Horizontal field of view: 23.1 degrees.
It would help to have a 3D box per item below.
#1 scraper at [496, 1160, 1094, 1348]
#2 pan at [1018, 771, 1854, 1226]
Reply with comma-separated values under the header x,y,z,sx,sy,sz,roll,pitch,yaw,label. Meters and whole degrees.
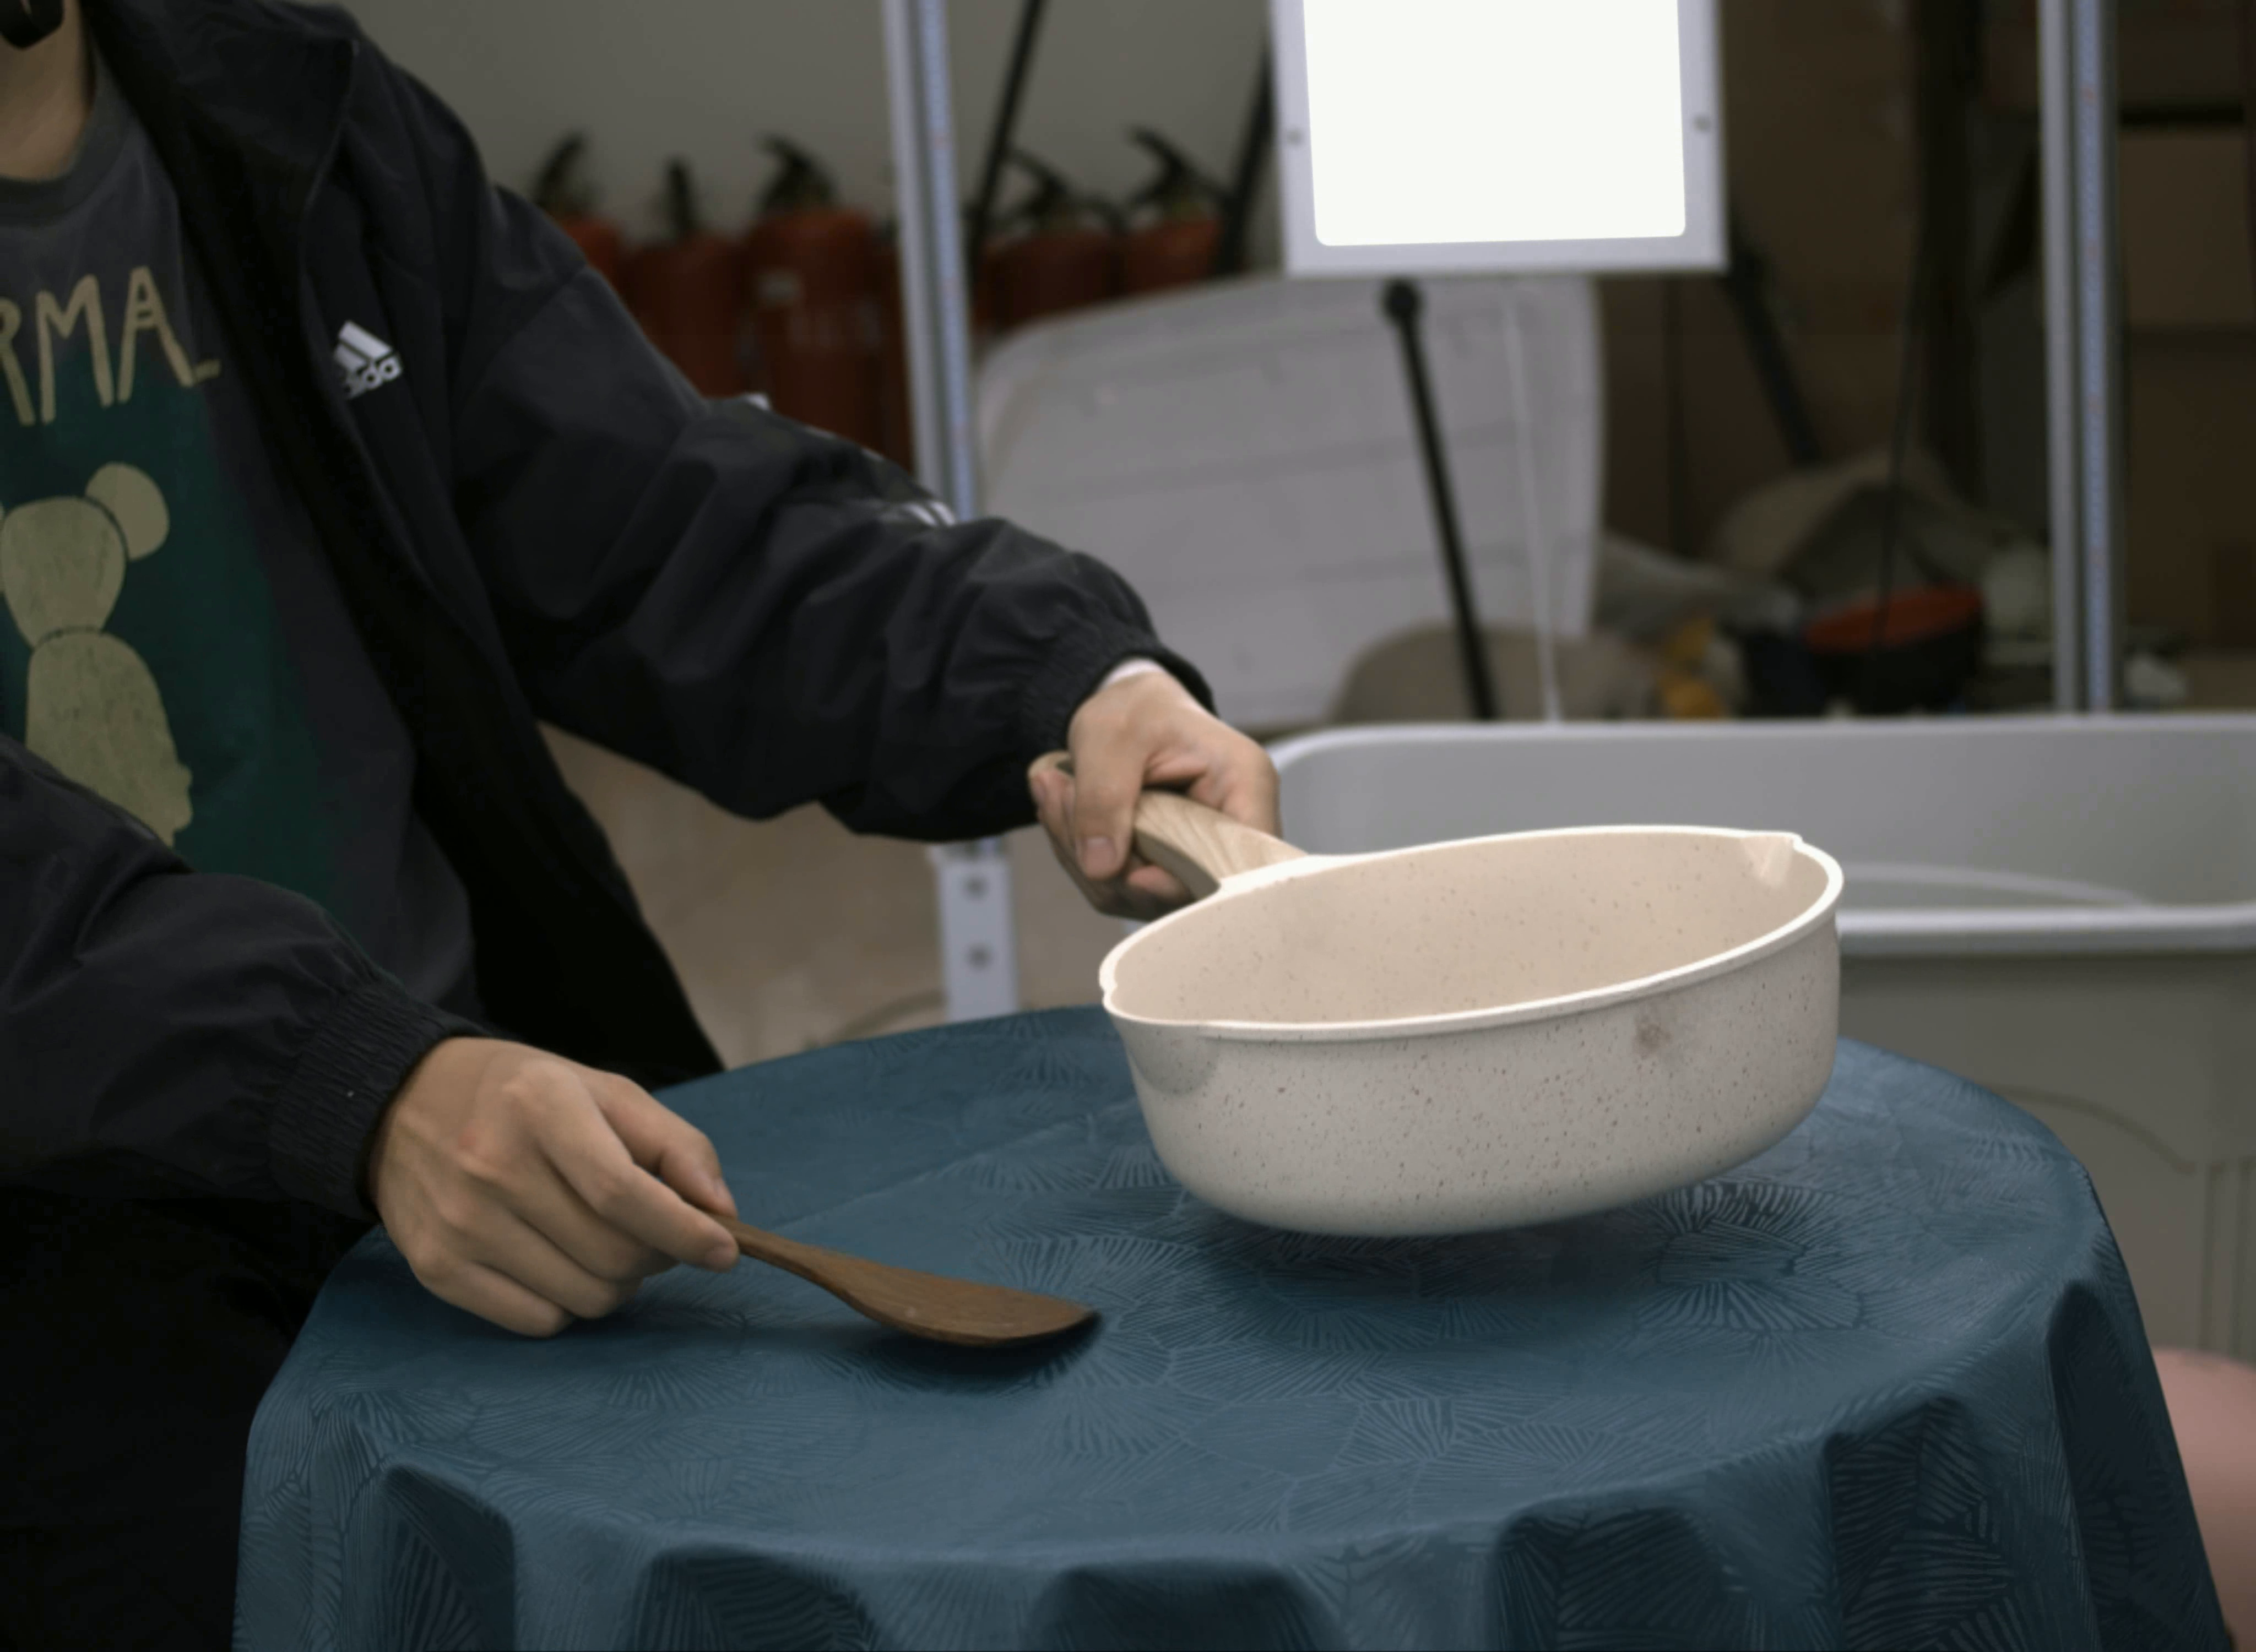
x,y,z,sx,sy,sz,roll,pitch,yaw,label
-0.113,0.138,1.787,0.214,0.011,0.074,15,10,27,scraper
0.080,0.049,1.918,0.258,0.102,0.442,-16,13,-25,pan
